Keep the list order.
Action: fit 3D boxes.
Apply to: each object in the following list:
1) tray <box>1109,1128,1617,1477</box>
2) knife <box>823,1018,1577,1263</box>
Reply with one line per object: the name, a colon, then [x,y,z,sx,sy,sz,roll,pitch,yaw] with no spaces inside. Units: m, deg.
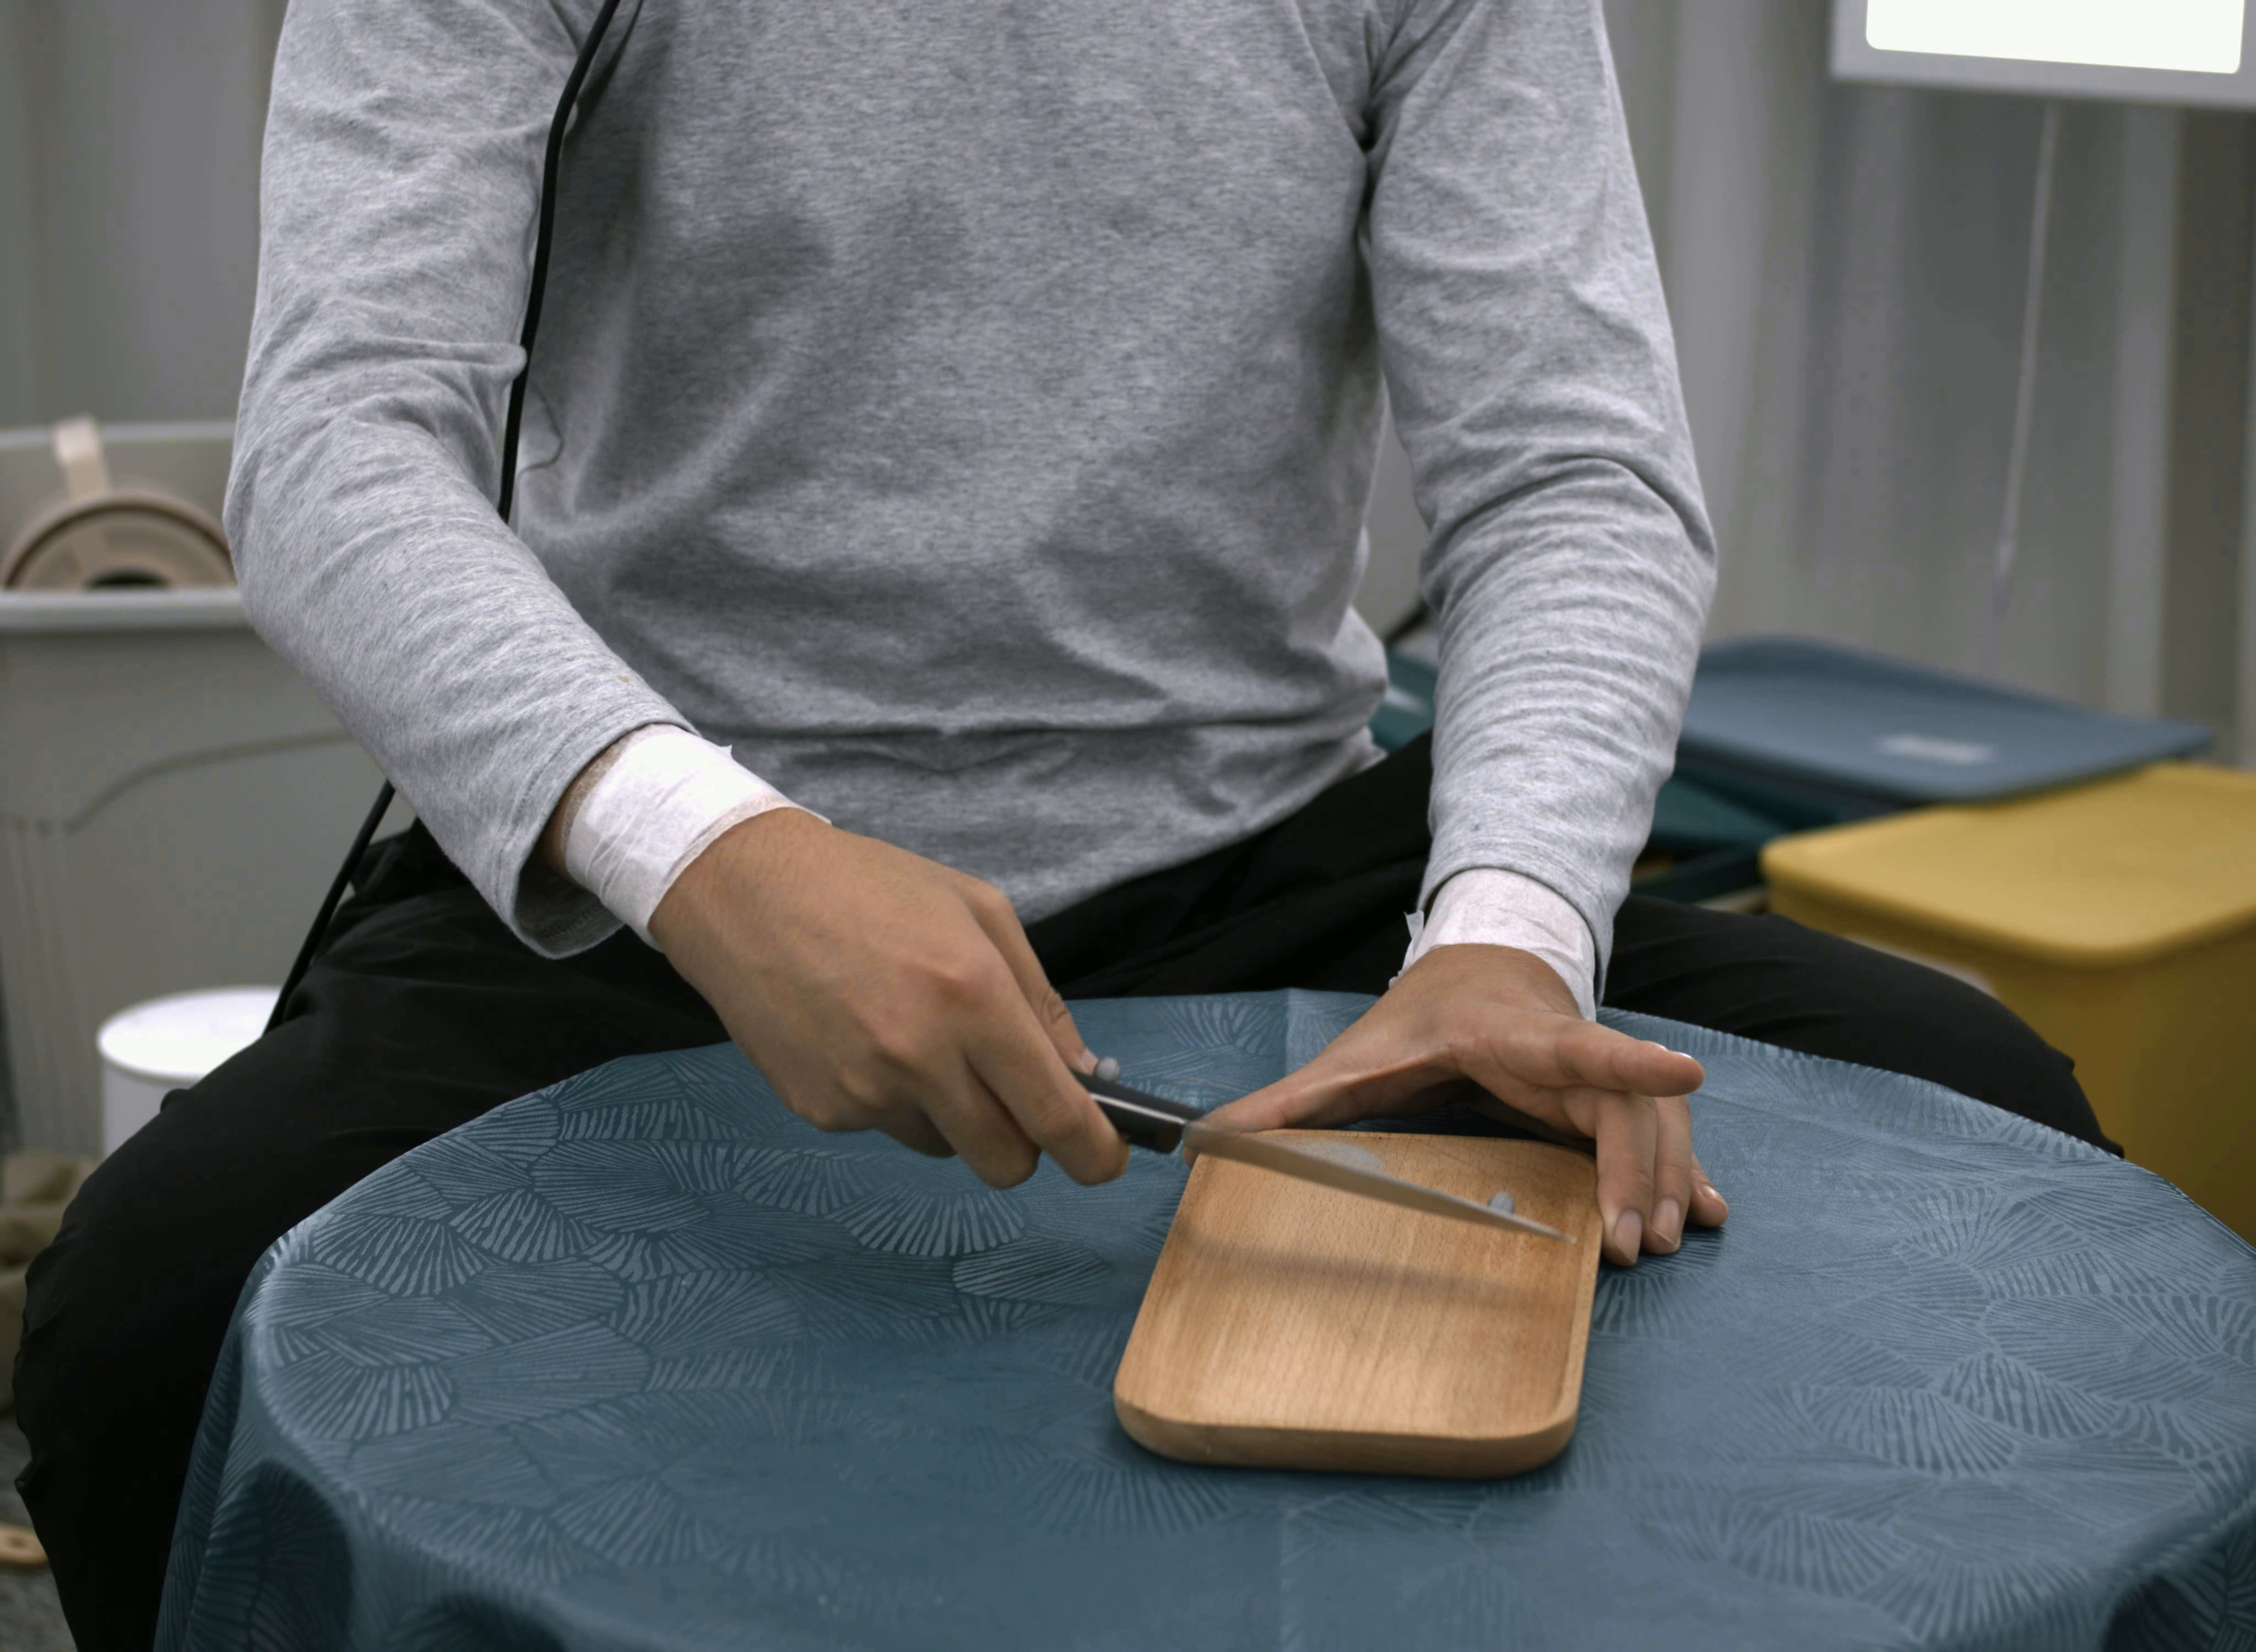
tray: [0.072,0.134,1.519,0.130,0.023,0.250,6,15,7]
knife: [0.018,0.093,1.537,0.236,0.016,0.025,16,-19,15]
